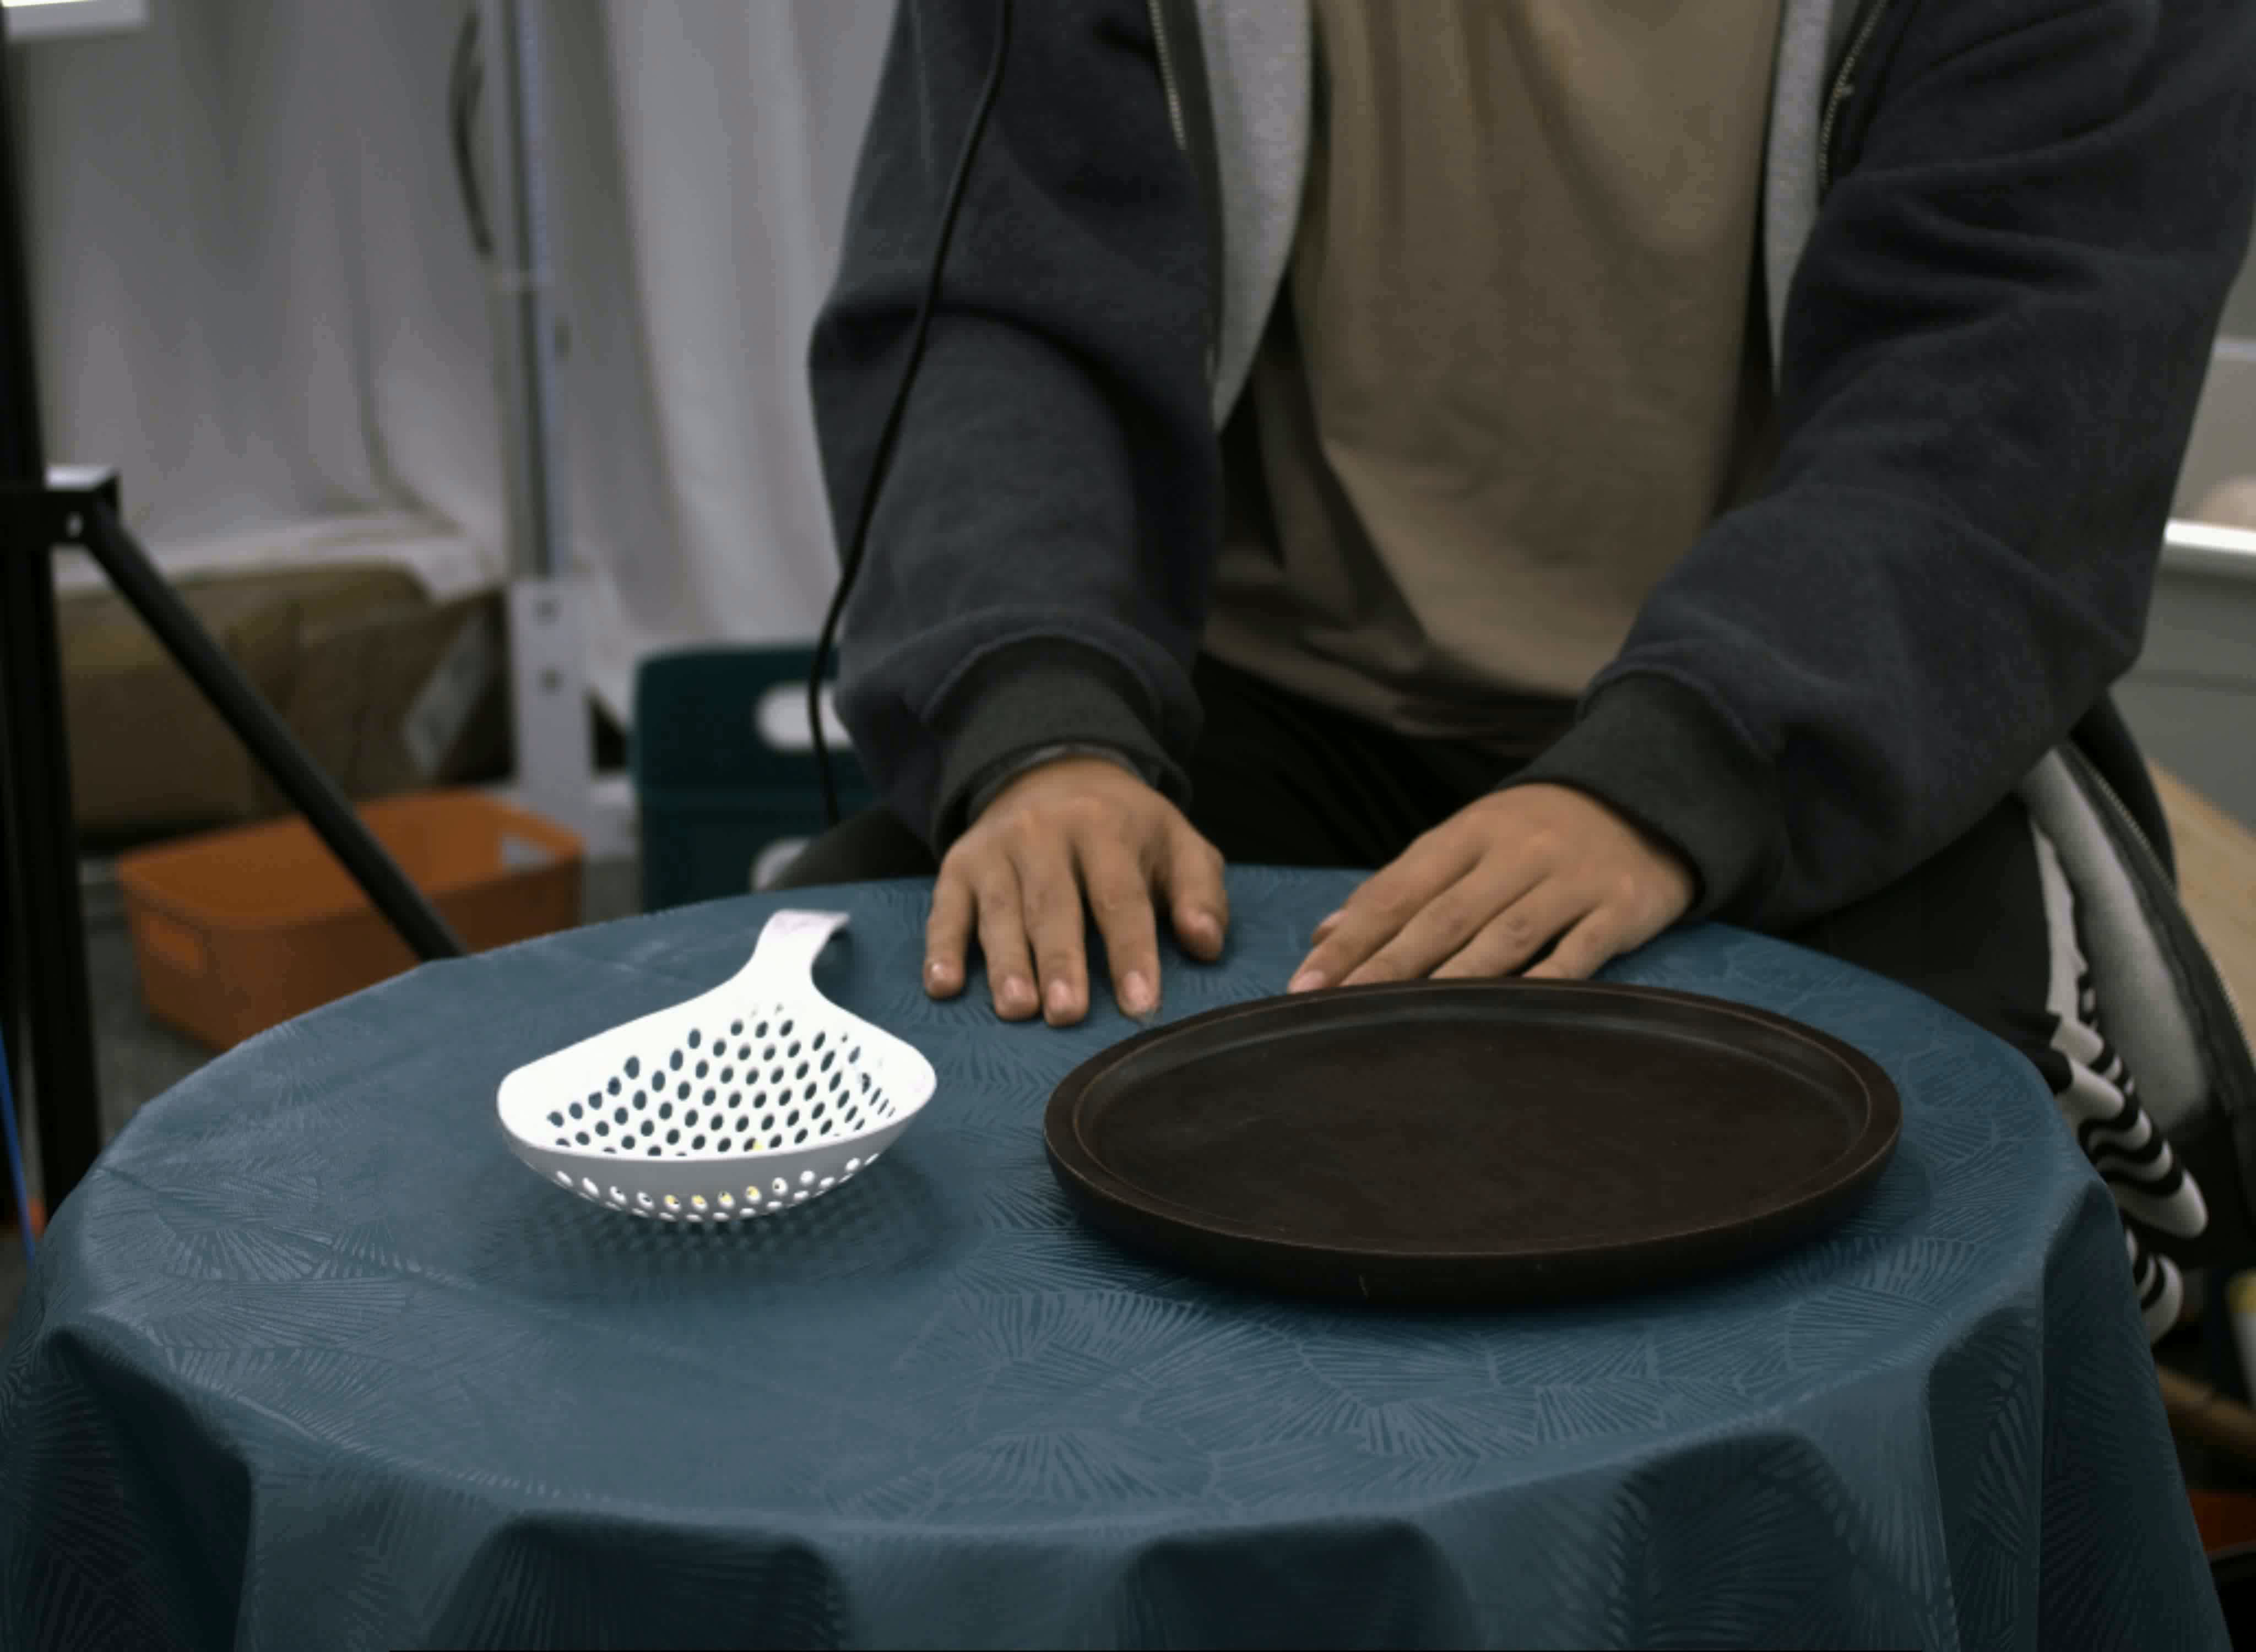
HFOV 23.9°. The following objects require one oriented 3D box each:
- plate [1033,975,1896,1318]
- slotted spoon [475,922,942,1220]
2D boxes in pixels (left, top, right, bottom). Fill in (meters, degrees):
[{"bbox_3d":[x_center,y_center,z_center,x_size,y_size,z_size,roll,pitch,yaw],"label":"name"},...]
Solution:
[{"bbox_3d":[0.099,0.092,1.558,0.253,0.029,0.256,-4,15,0],"label":"plate"},{"bbox_3d":[-0.115,0.062,1.664,0.137,0.050,0.348,-3,16,4],"label":"slotted spoon"}]
